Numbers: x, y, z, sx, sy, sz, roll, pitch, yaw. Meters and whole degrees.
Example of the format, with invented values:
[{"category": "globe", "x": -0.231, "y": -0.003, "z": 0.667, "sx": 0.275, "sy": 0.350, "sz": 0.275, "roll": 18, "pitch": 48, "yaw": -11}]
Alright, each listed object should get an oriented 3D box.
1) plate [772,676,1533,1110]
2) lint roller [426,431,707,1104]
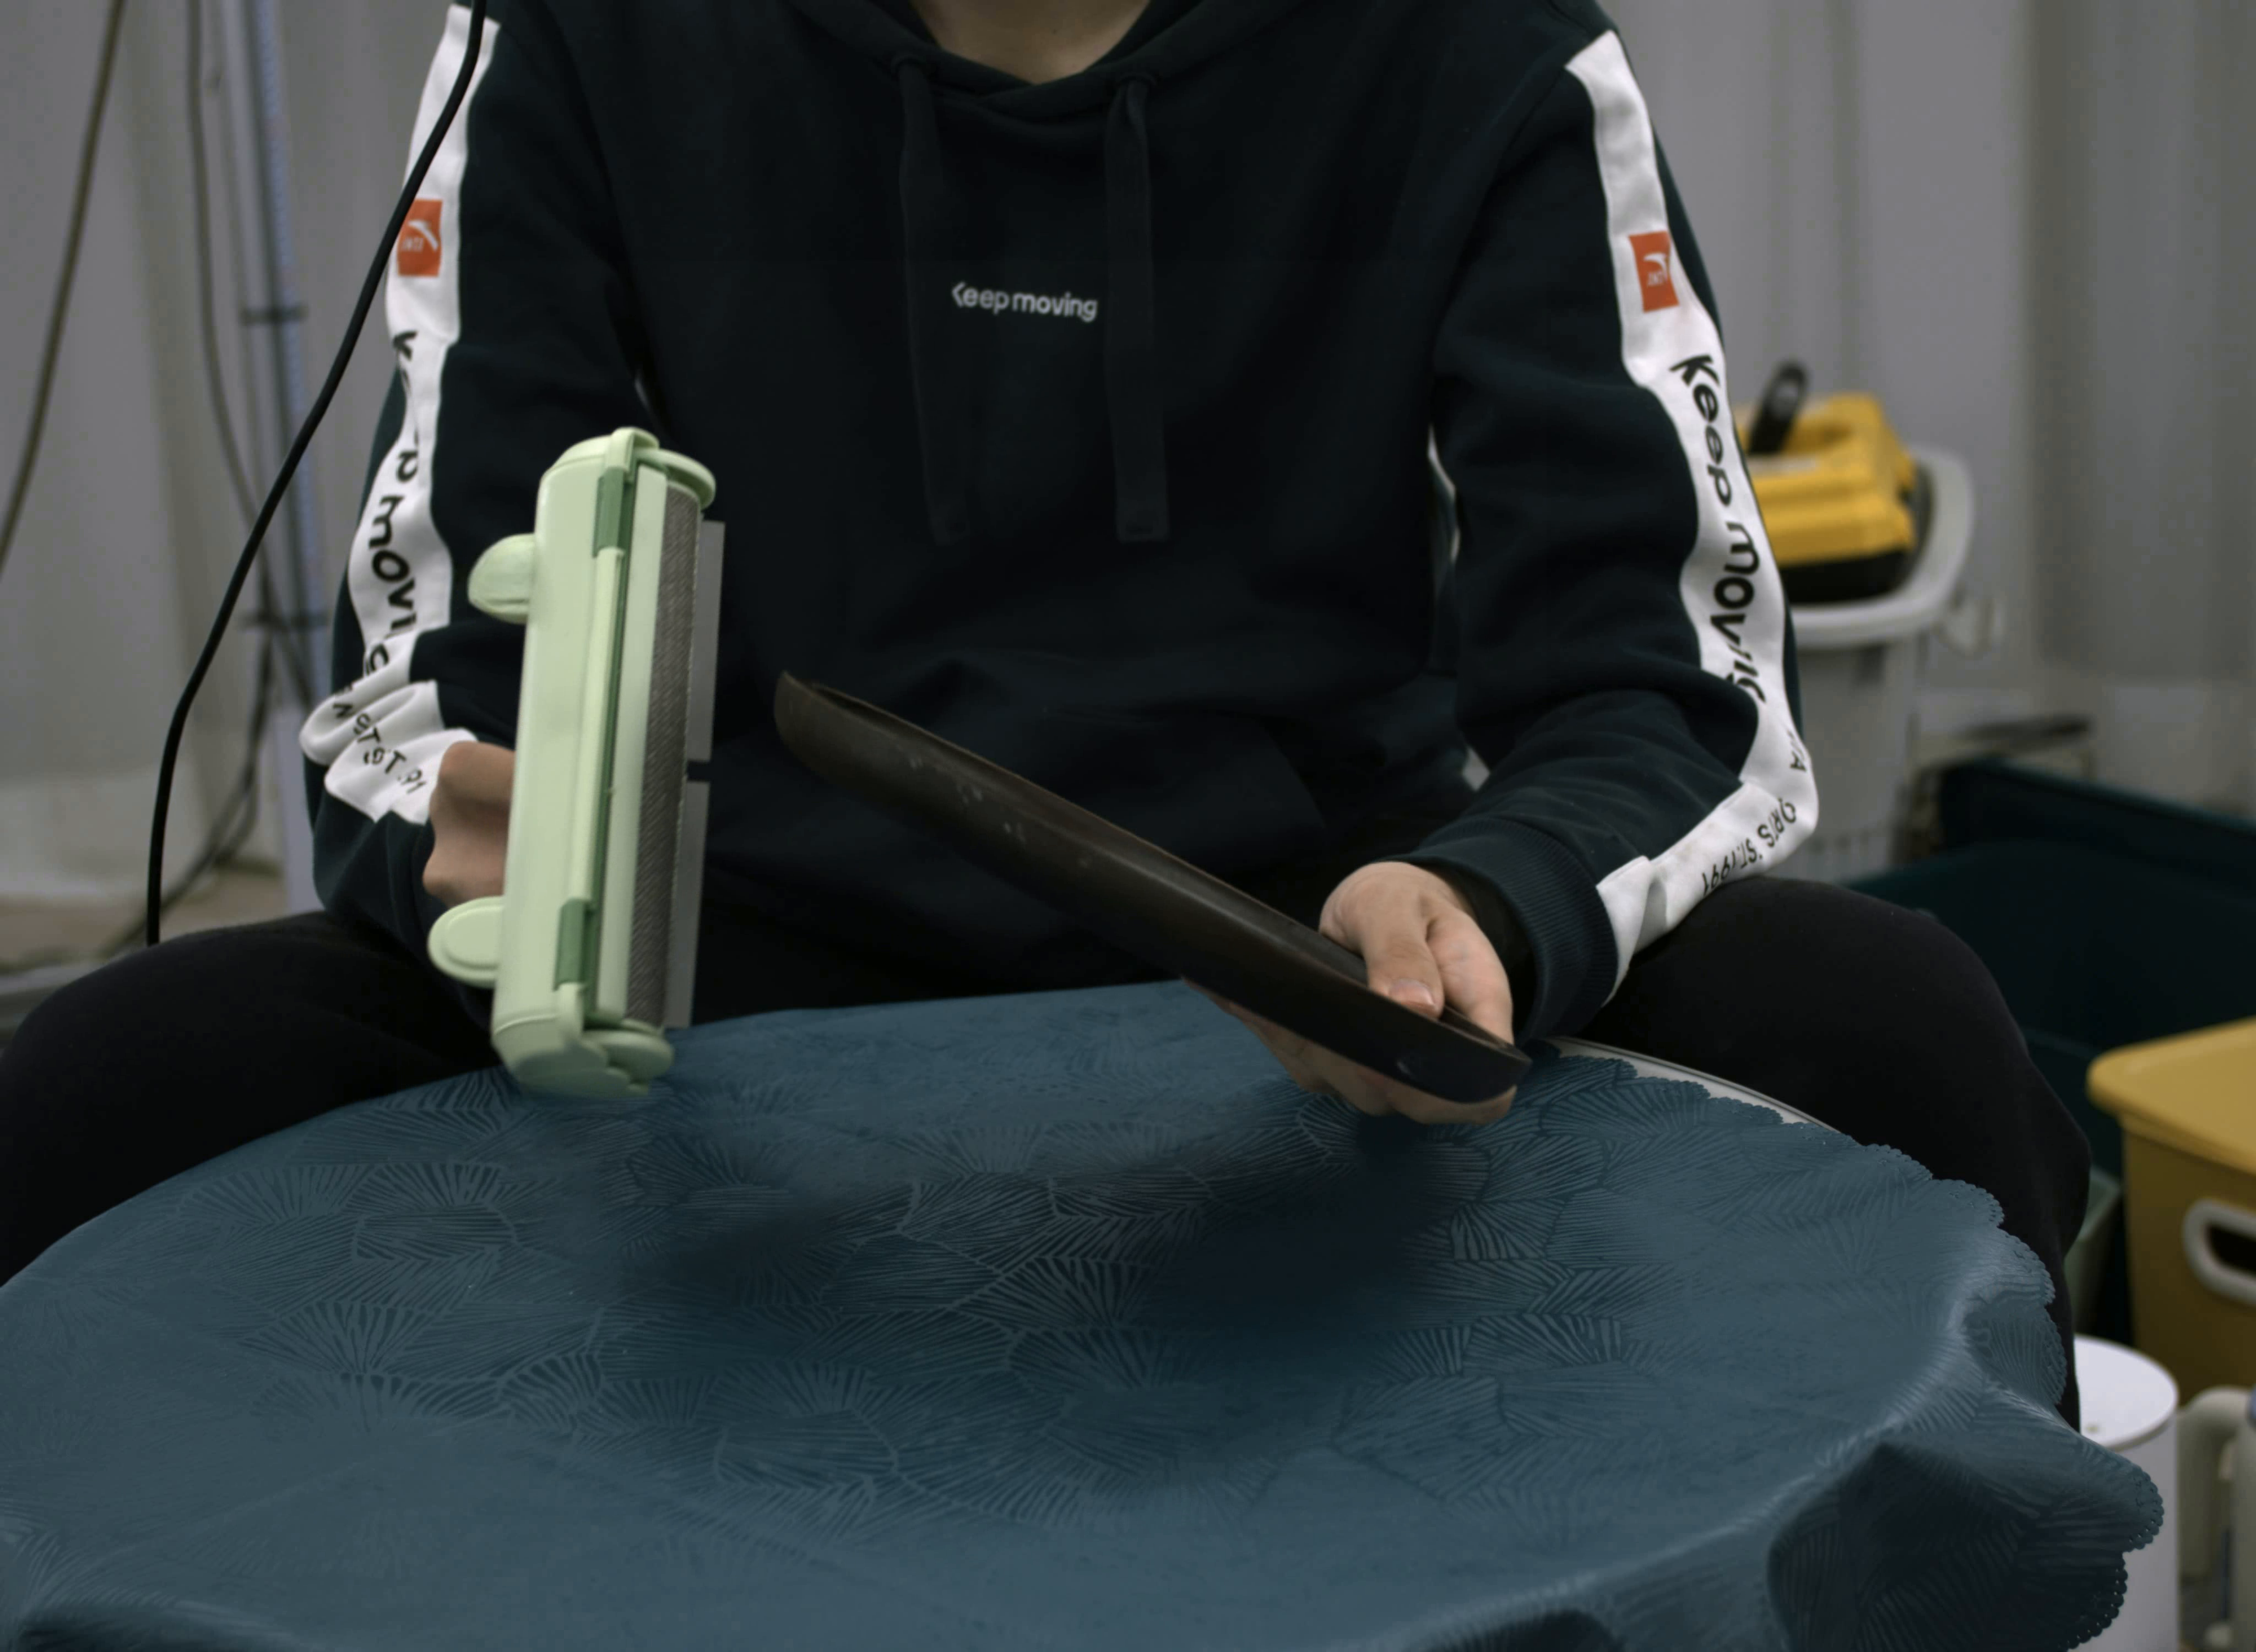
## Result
[{"category": "plate", "x": 0.005, "y": 0.021, "z": 1.629, "sx": 0.254, "sy": 0.029, "sz": 0.255, "roll": 26, "pitch": 3, "yaw": -1}, {"category": "lint roller", "x": -0.178, "y": -0.001, "z": 1.682, "sx": 0.081, "sy": 0.201, "sz": 0.182, "roll": 8, "pitch": -21, "yaw": -14}]
